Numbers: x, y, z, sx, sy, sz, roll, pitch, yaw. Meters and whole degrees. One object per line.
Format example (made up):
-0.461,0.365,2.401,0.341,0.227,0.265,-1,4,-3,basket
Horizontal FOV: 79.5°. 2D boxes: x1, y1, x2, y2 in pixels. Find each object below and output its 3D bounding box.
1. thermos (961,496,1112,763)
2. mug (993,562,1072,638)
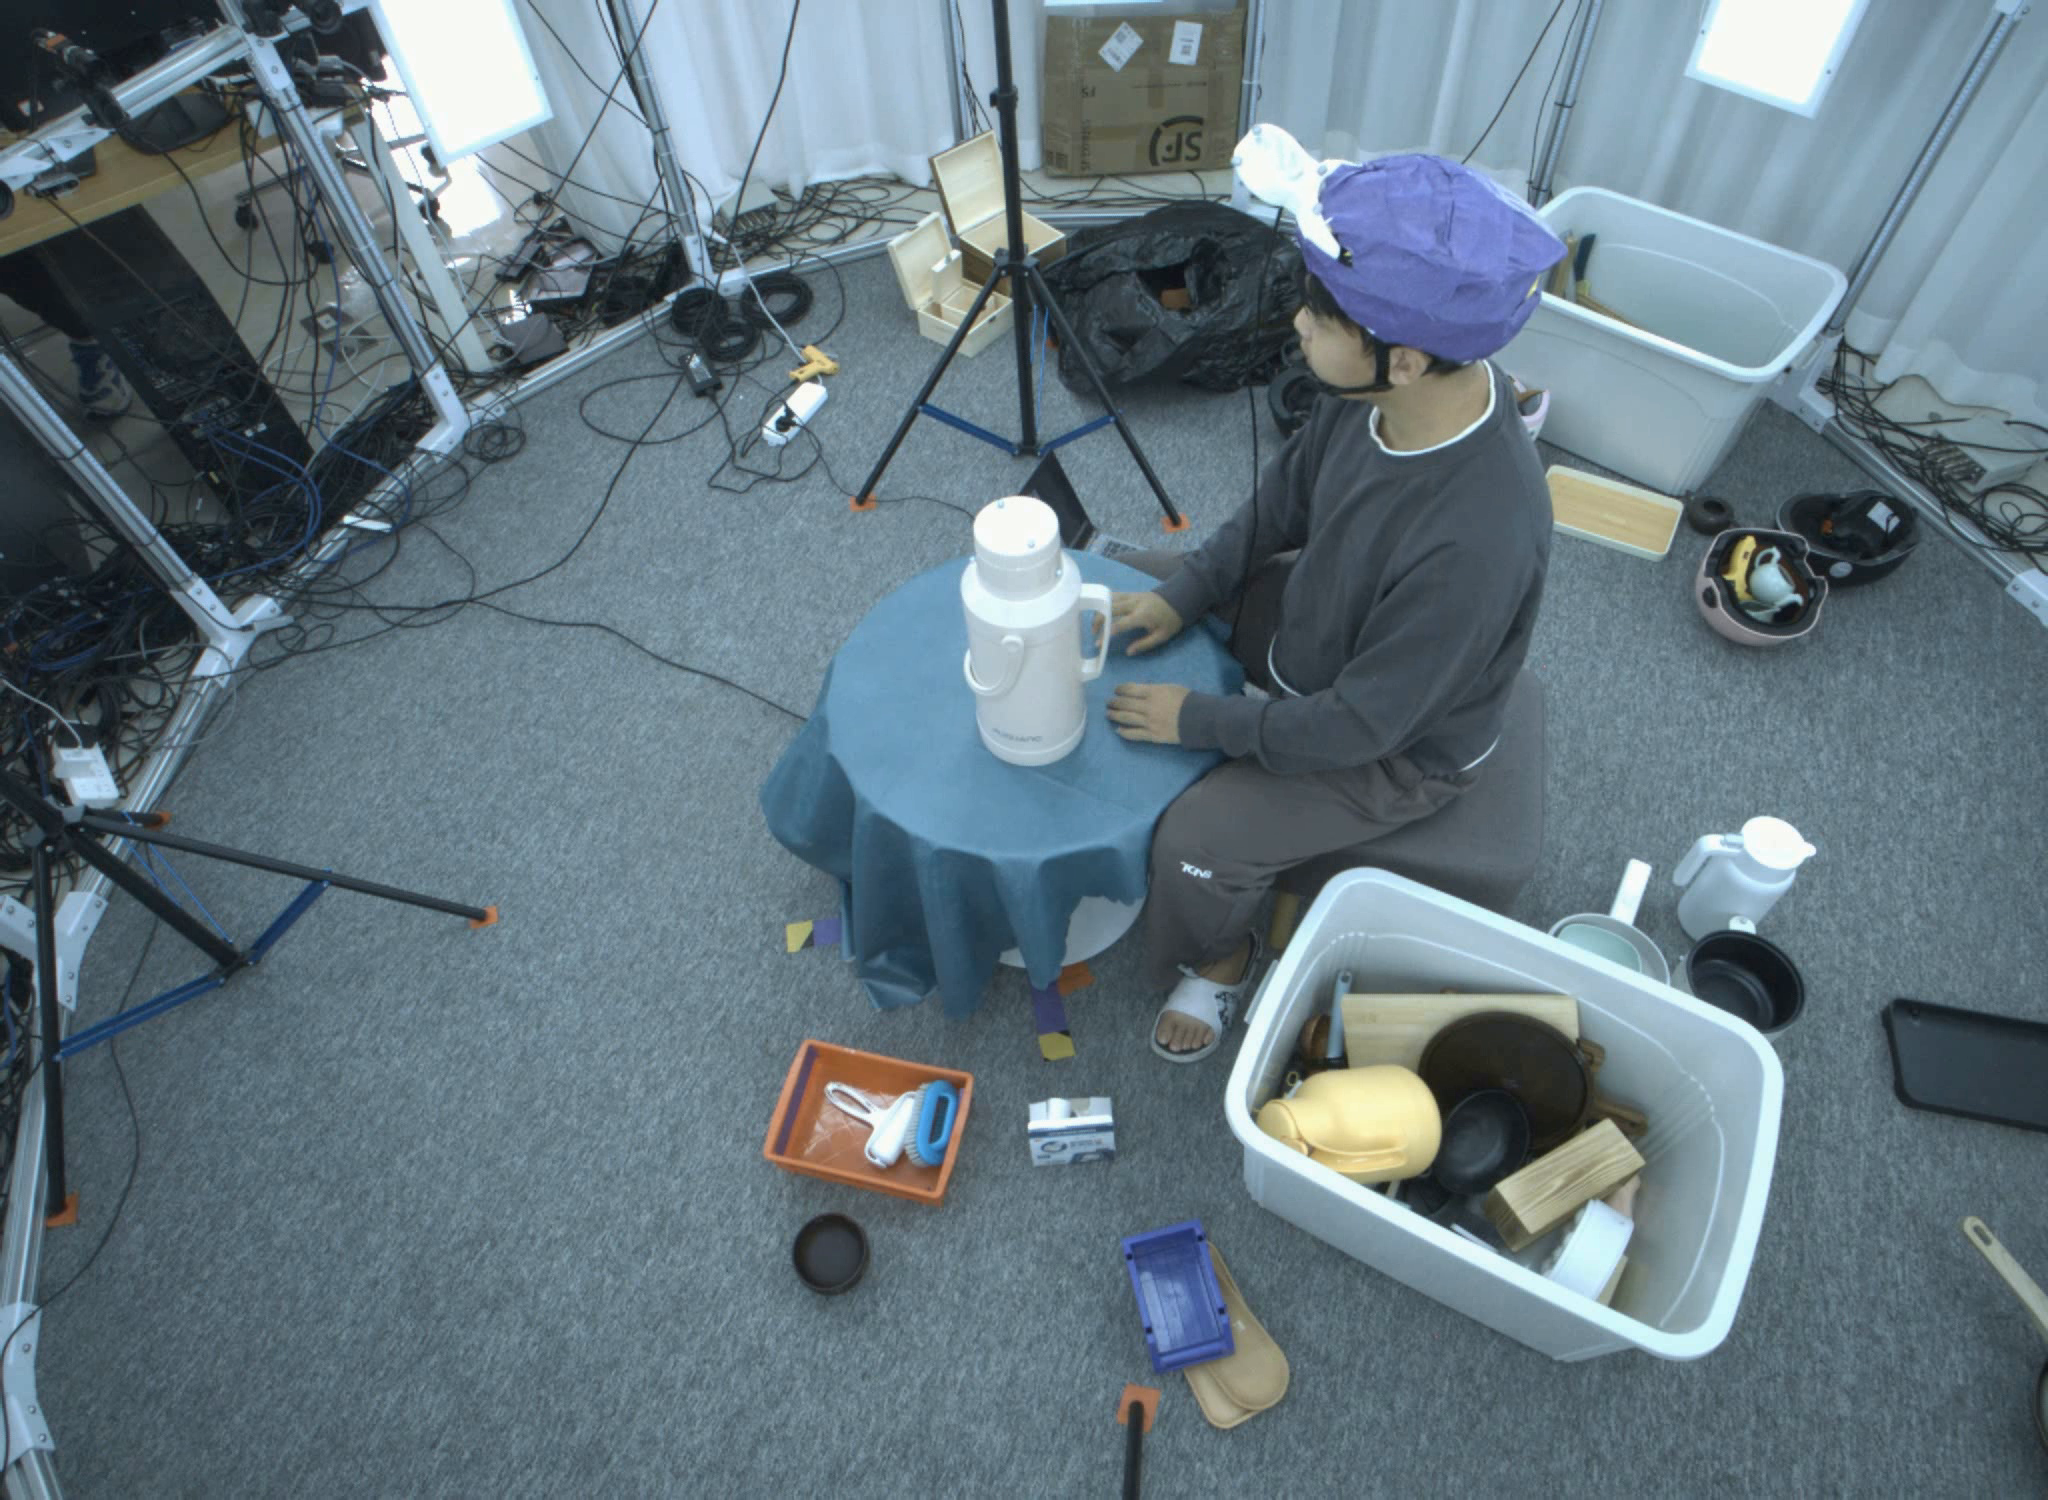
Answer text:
0.015,-0.156,1.653,0.206,0.411,0.174,4,55,6,thermos
0.012,-0.231,1.894,0.123,0.091,0.092,-2,55,1,mug
